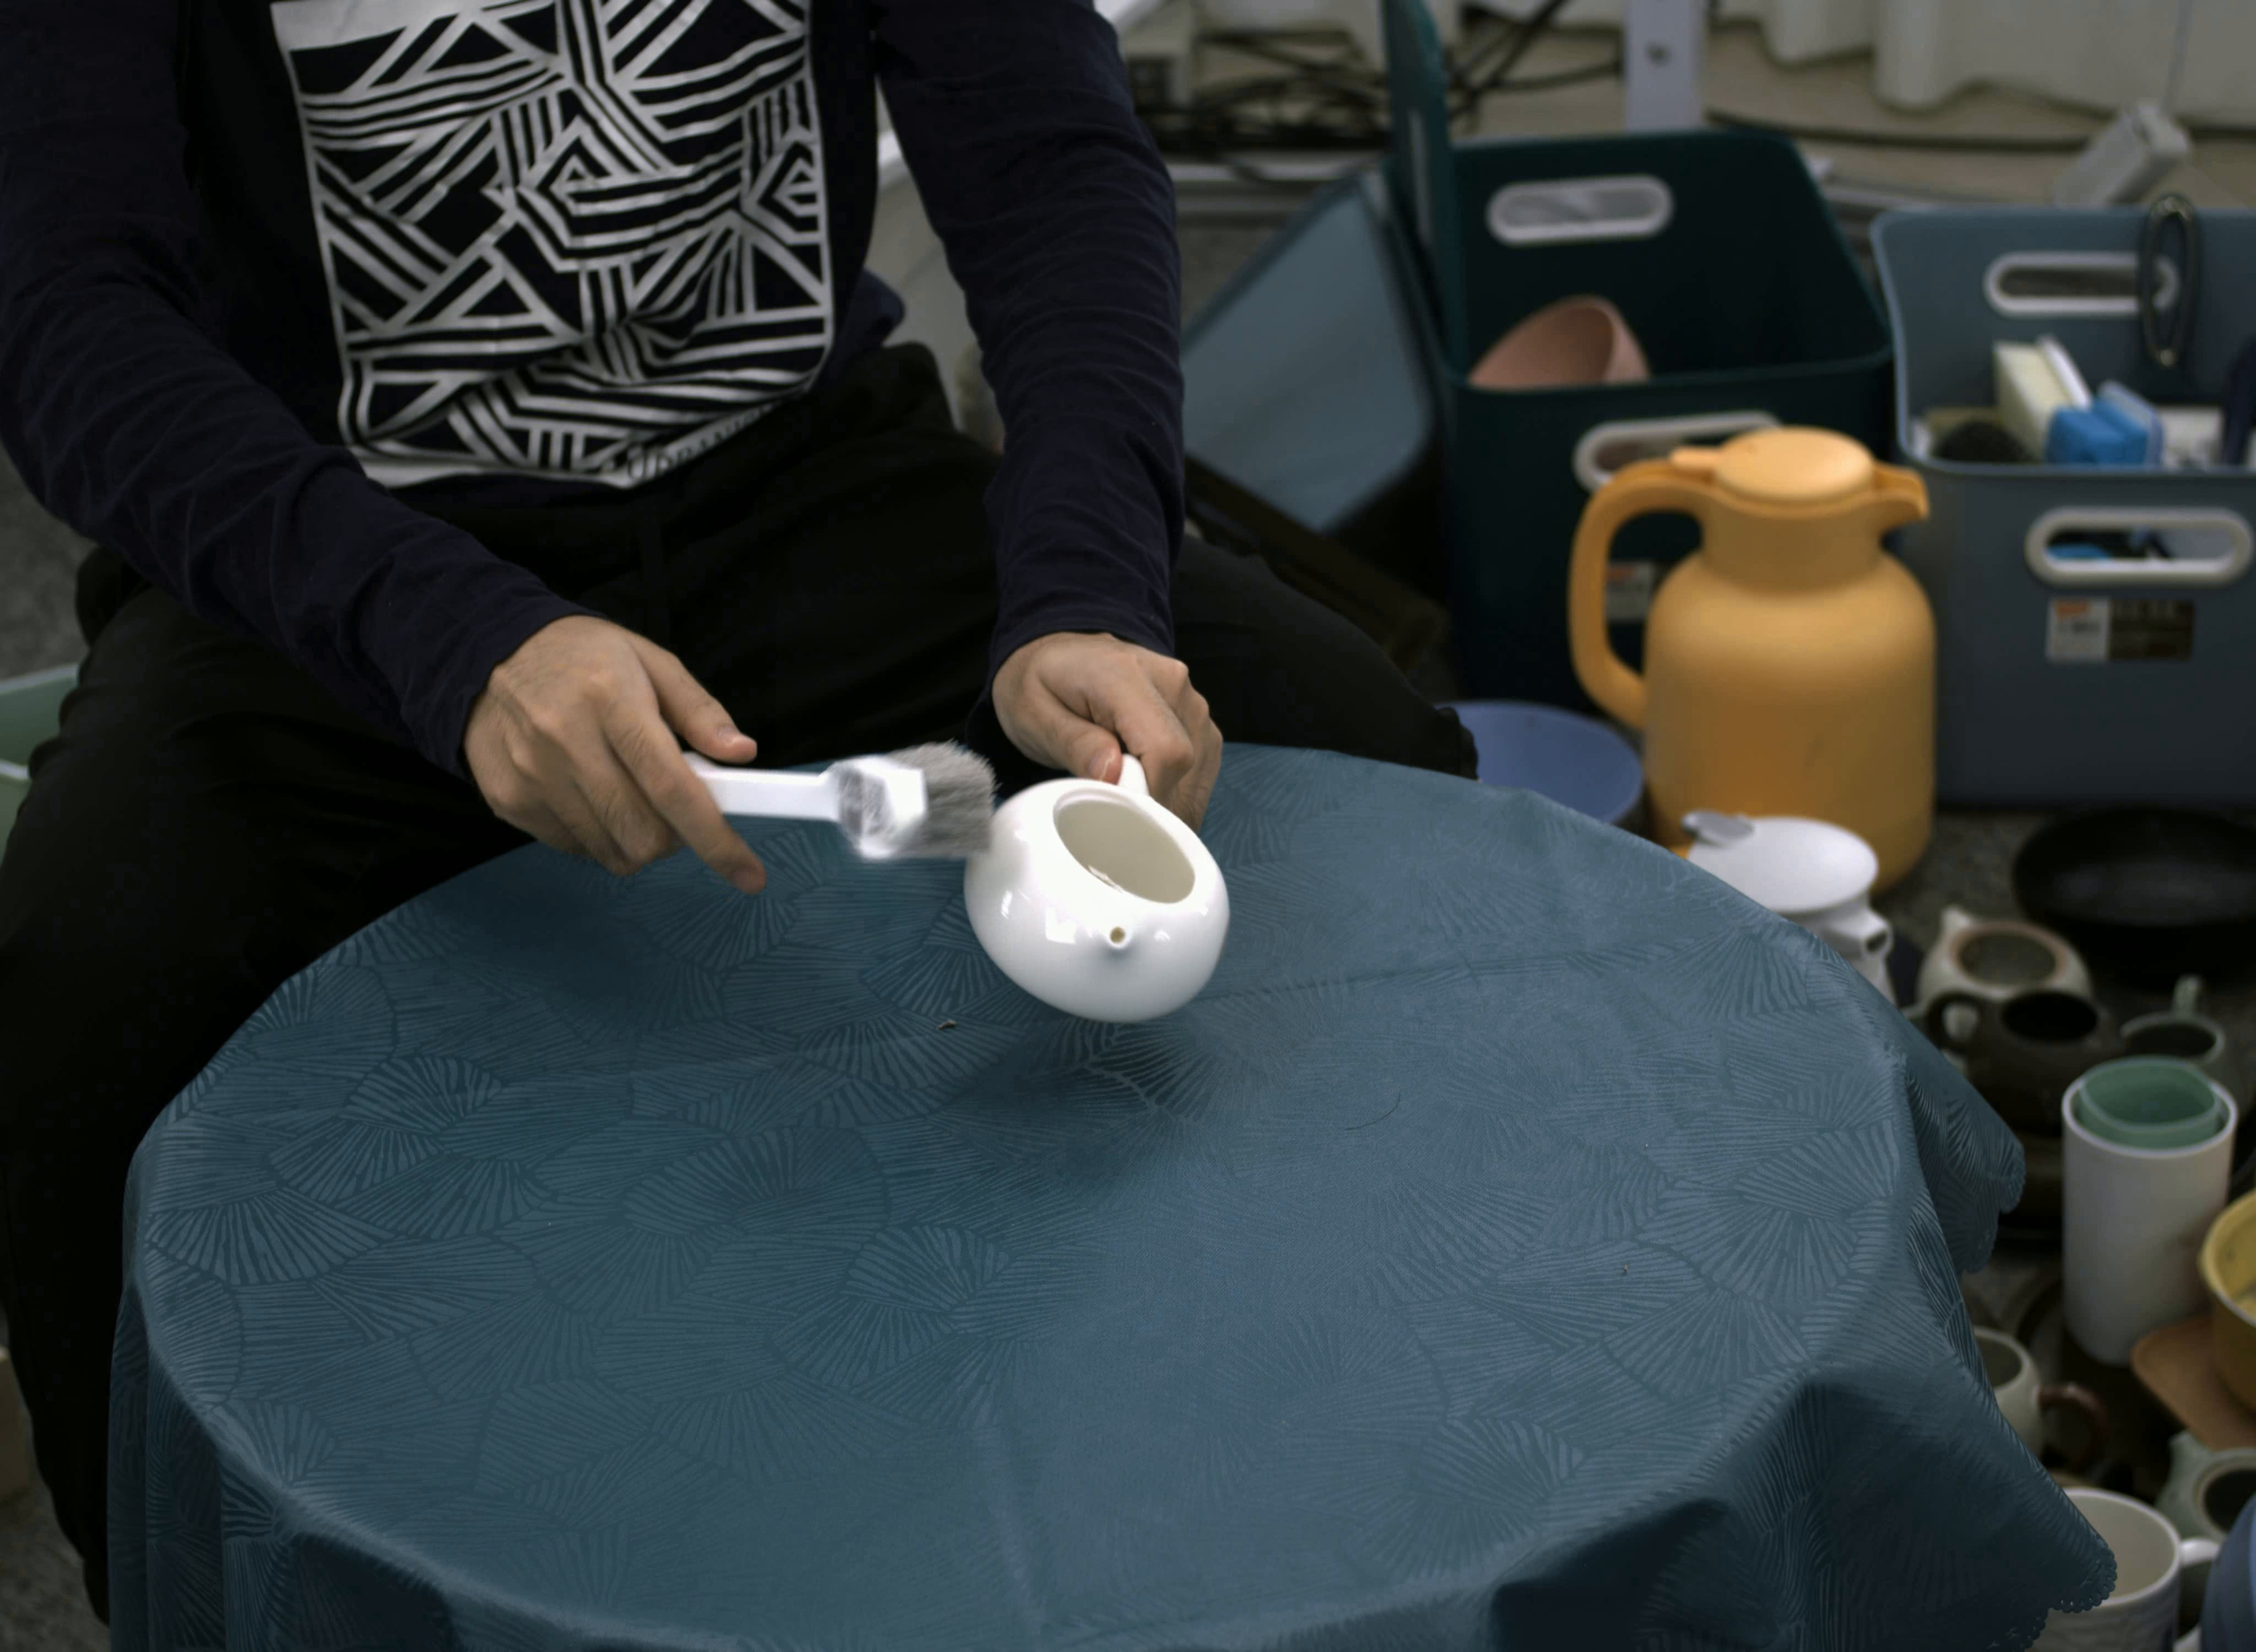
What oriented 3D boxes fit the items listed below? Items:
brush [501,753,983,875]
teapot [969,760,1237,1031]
[{"bbox_3d":[-0.132,-0.008,1.942,0.050,0.034,0.242,-13,11,-39],"label":"brush"},{"bbox_3d":[-0.009,0.022,1.920,0.093,0.056,0.129,17,32,-13],"label":"teapot"}]
